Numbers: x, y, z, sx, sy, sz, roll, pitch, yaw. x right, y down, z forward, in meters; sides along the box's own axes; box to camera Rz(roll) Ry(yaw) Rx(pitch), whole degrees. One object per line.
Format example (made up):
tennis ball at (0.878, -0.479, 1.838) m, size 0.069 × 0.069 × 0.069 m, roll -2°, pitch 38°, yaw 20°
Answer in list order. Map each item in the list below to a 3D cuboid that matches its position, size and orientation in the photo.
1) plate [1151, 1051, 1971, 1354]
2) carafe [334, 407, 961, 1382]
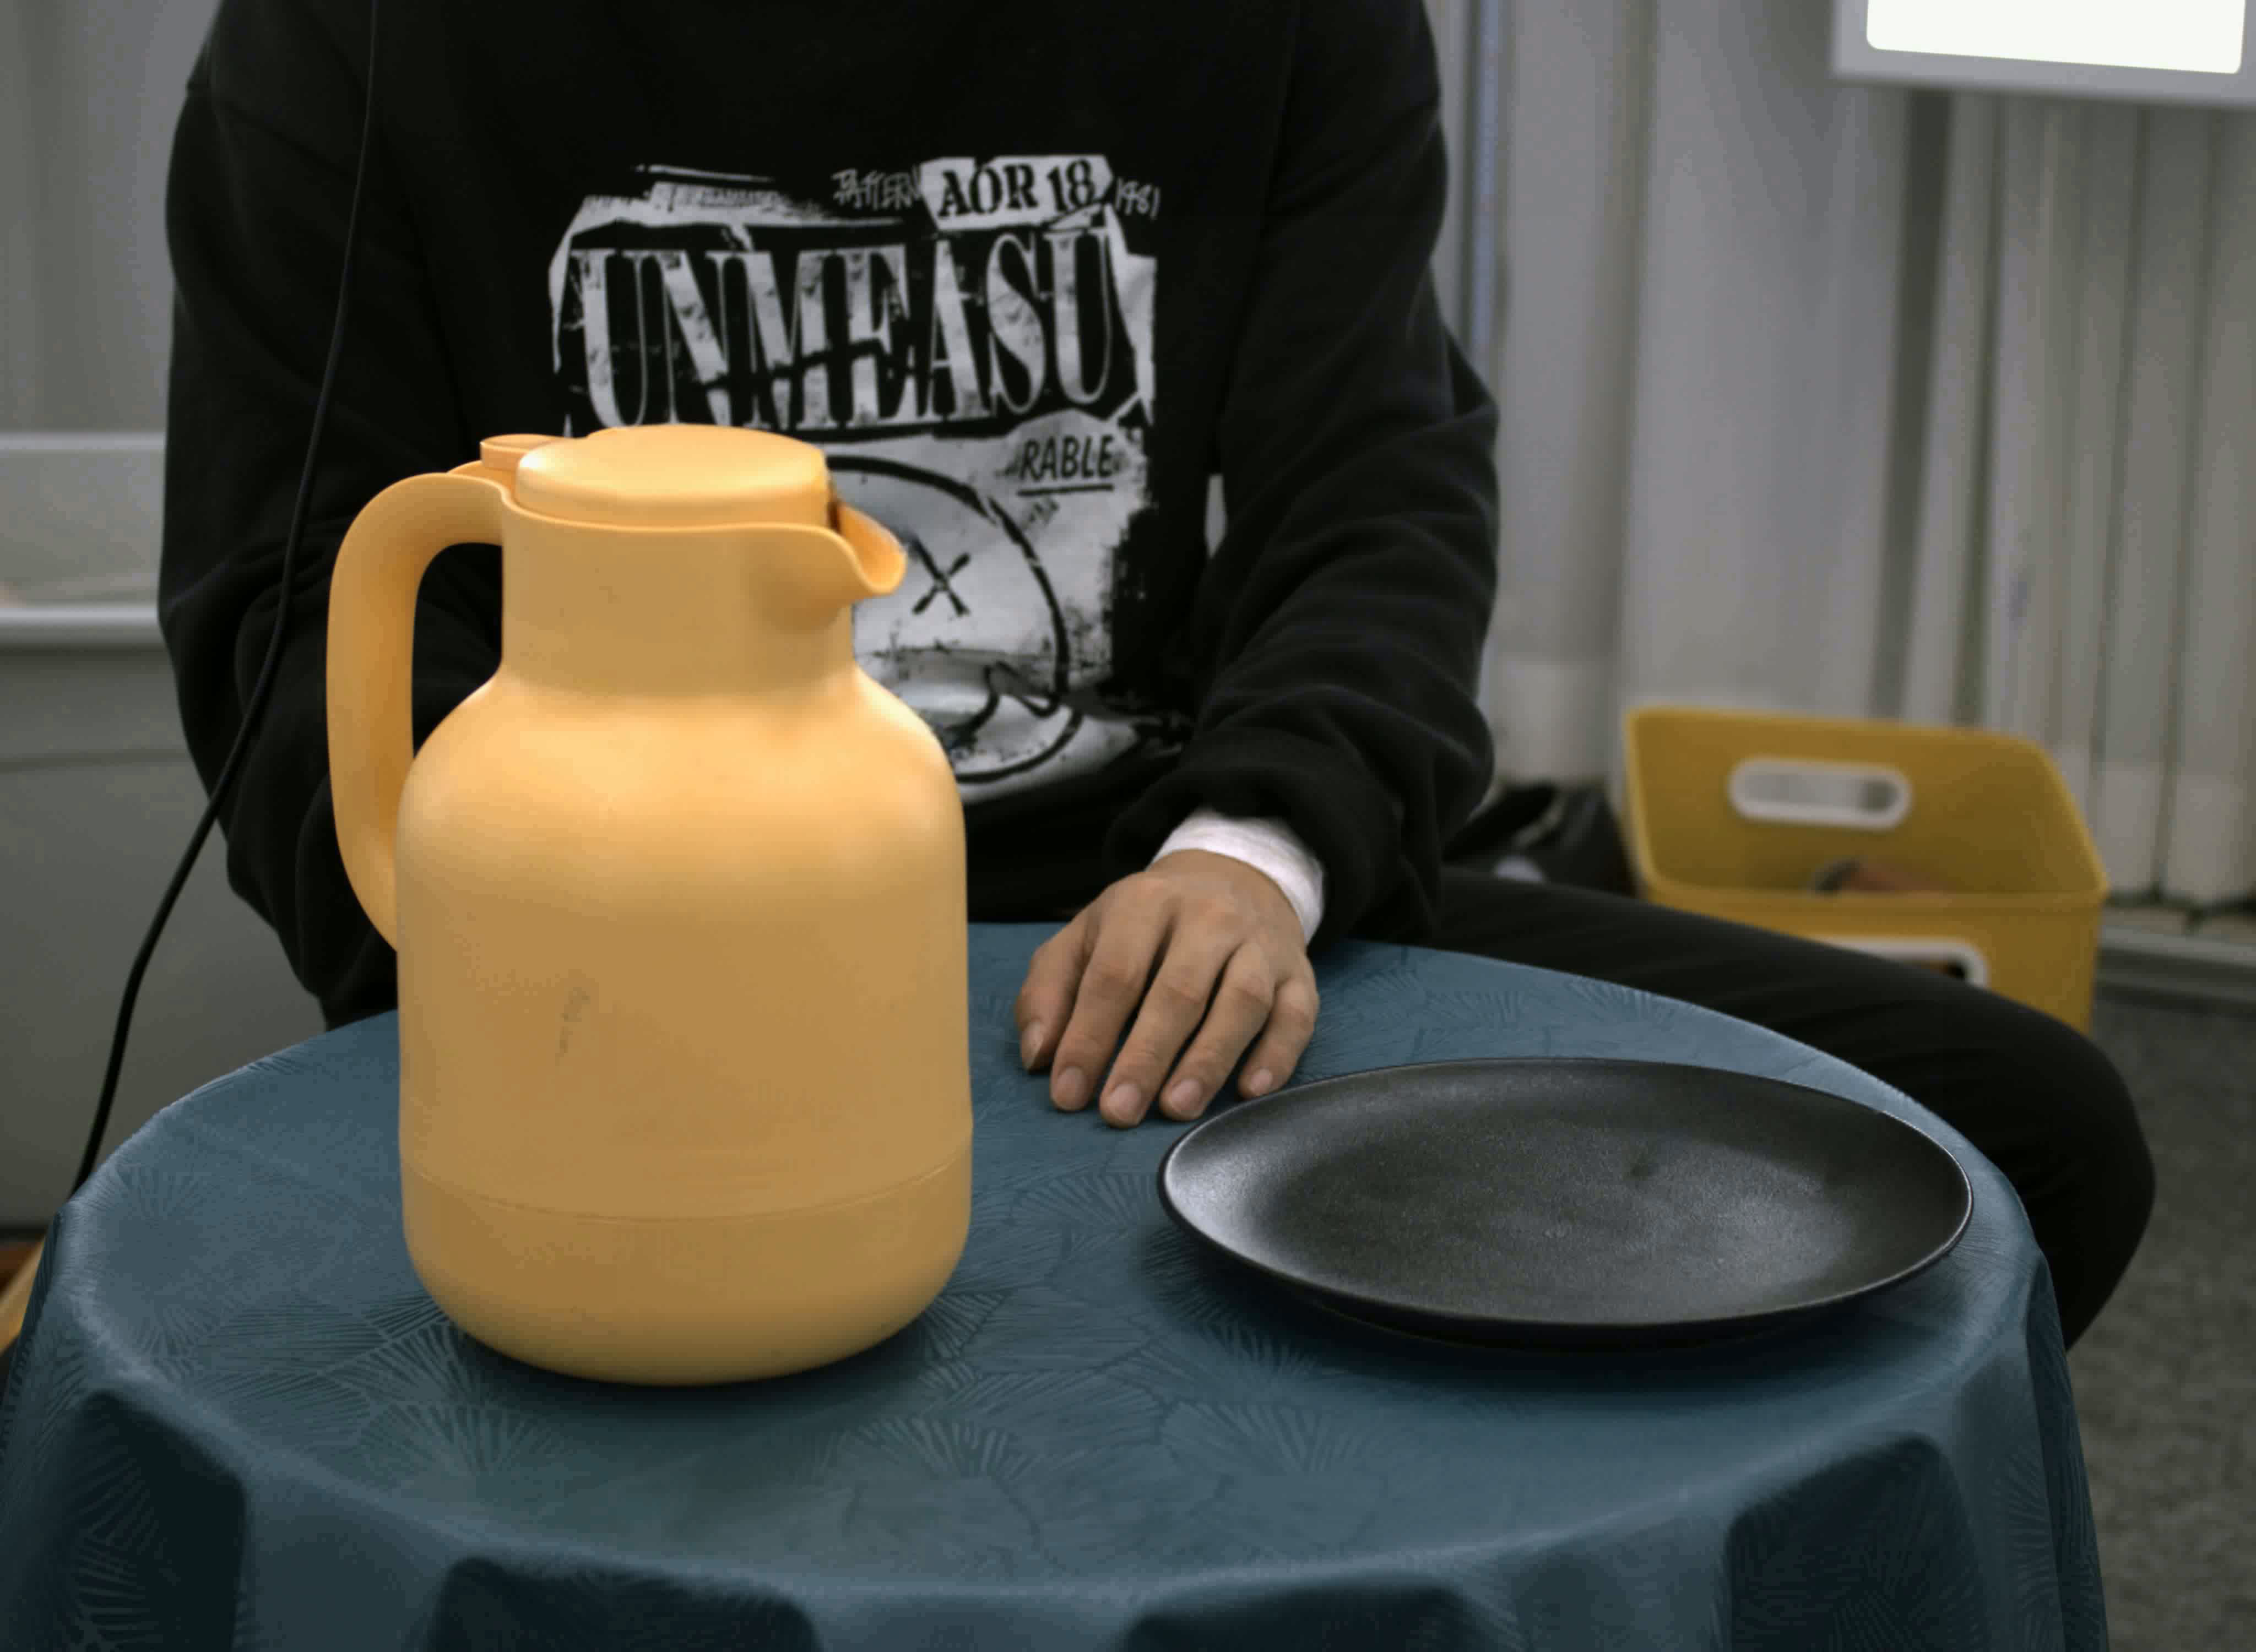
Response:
plate at (0.129, 0.115, 1.572) m, size 0.243 × 0.023 × 0.243 m, roll 1°, pitch 16°, yaw 0°
carafe at (-0.142, 0.011, 1.487) m, size 0.200 × 0.262 × 0.164 m, roll 14°, pitch 18°, yaw 34°
